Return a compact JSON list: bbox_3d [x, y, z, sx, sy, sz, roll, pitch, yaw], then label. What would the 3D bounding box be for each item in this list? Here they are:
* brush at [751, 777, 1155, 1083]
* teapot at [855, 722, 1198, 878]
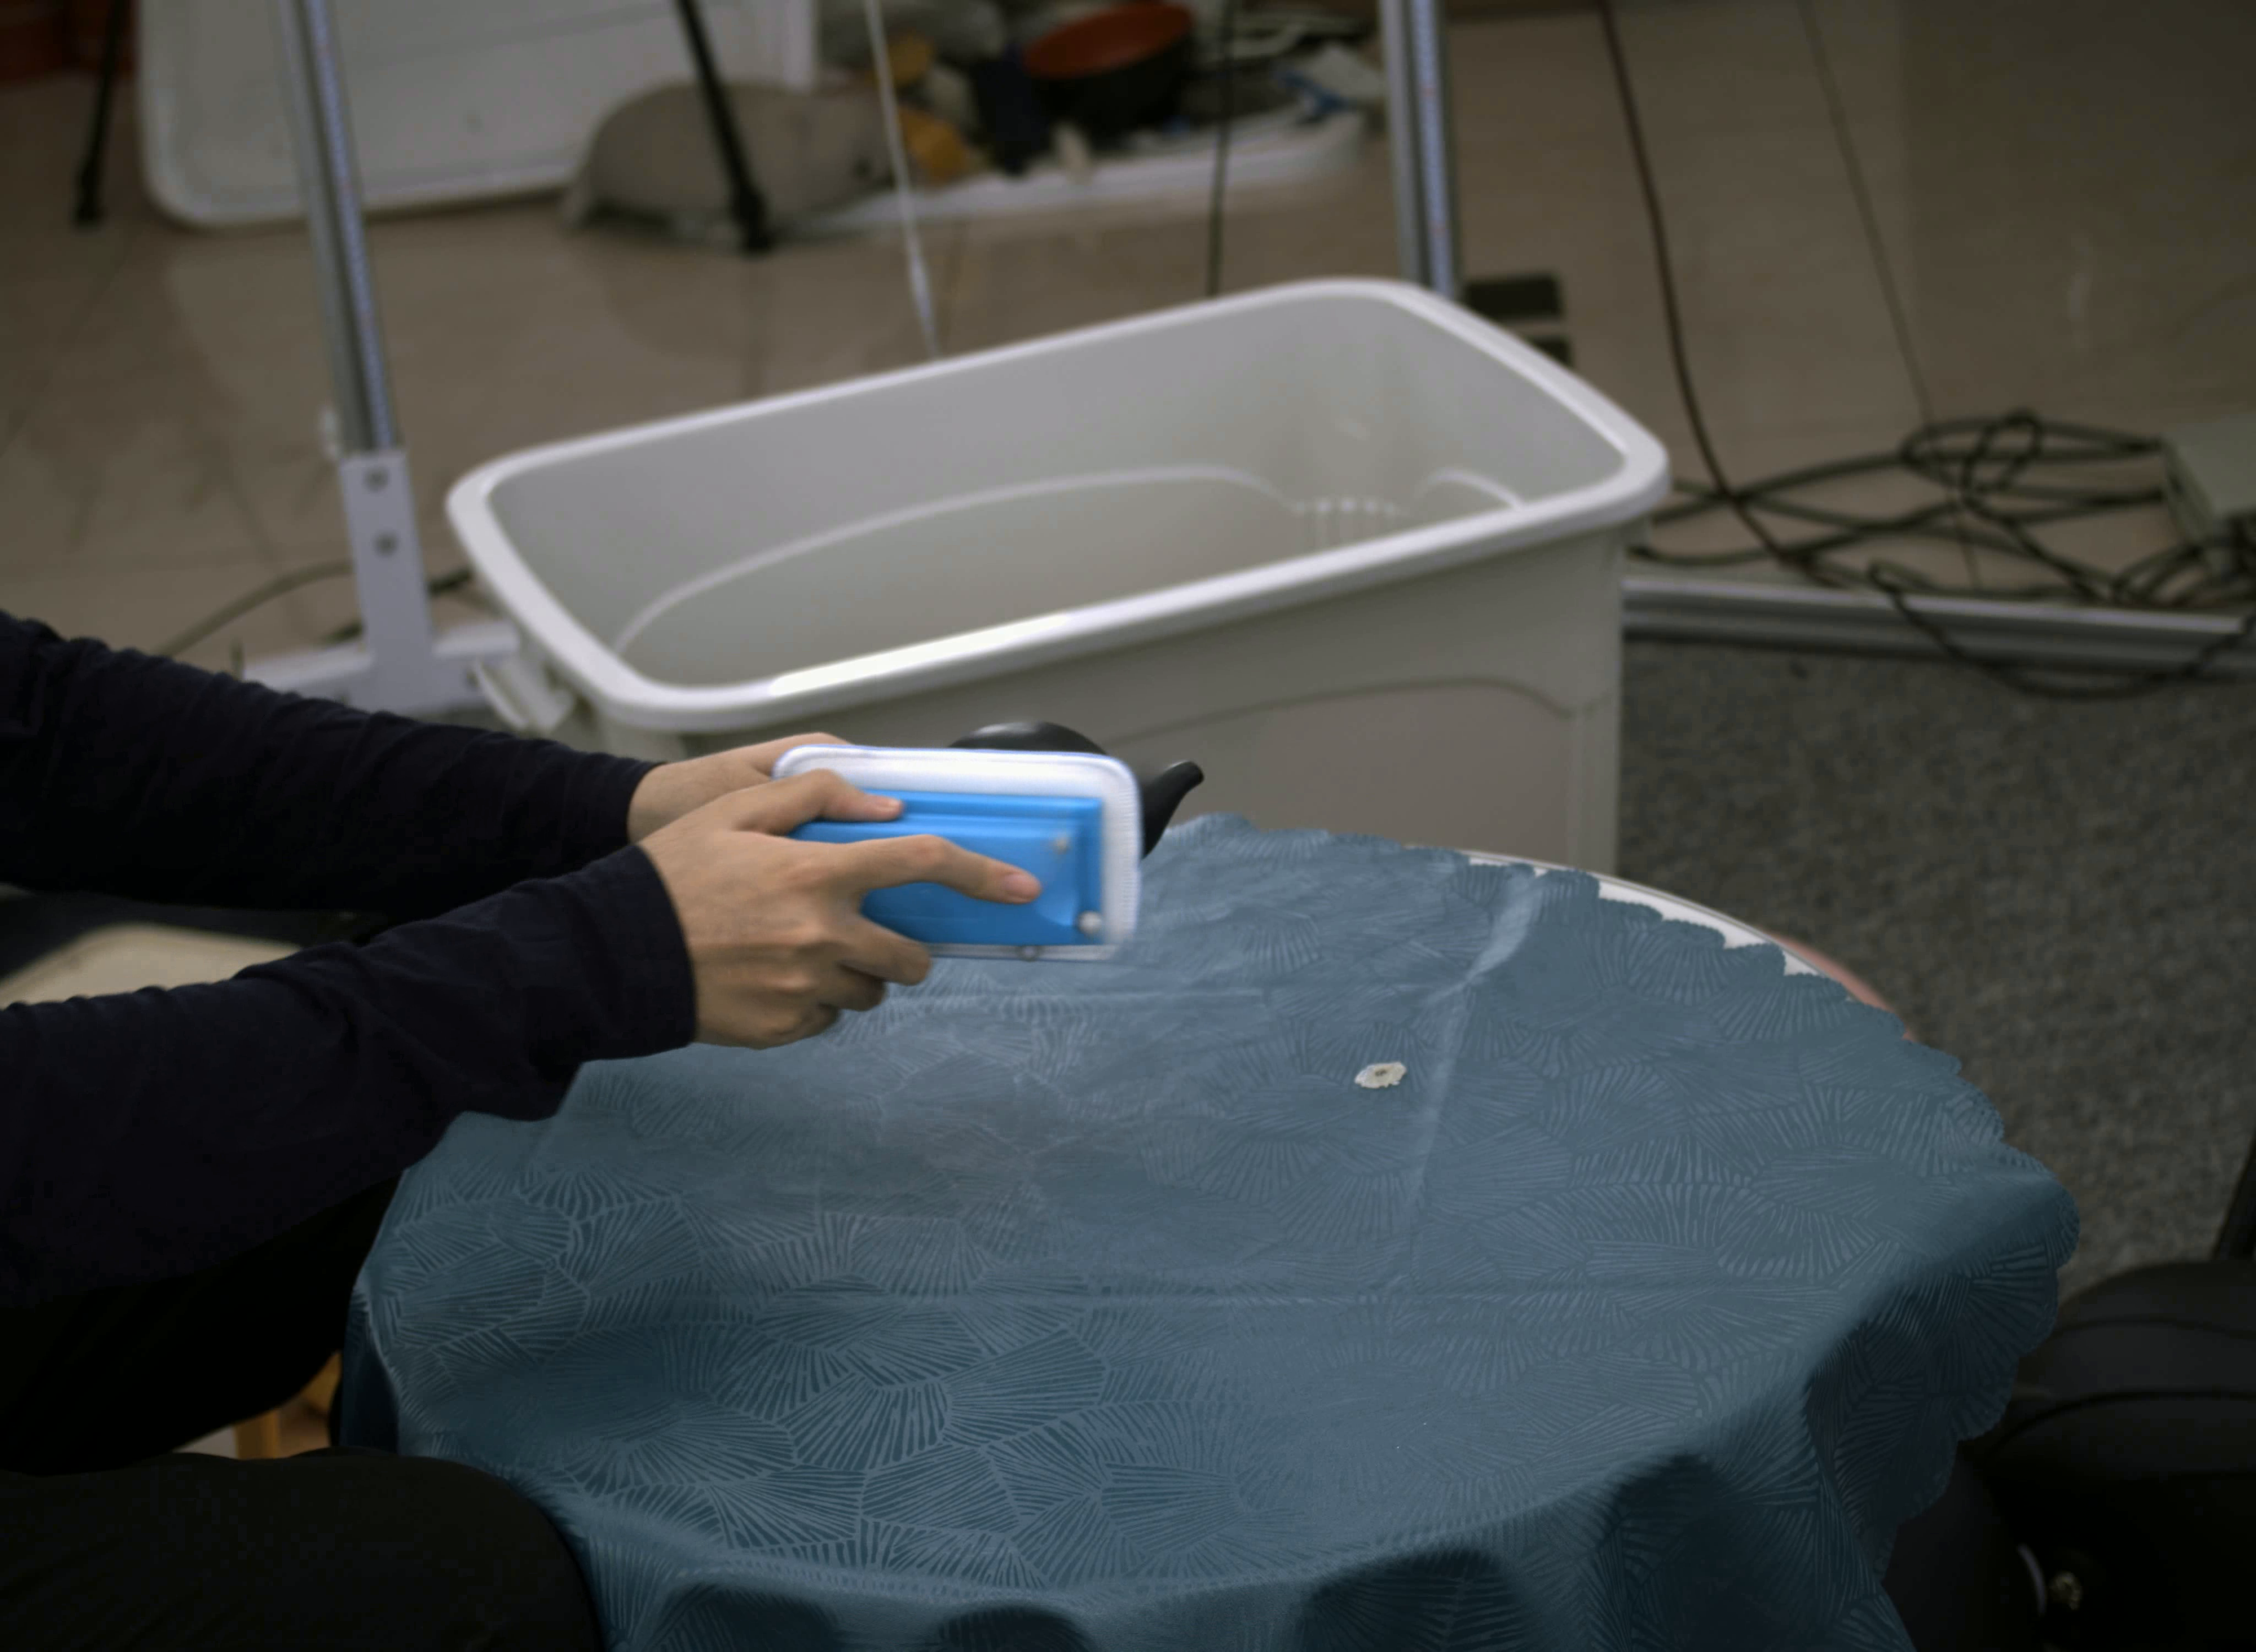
[{"bbox_3d":[-0.066,0.038,2.092,0.144,0.084,0.056,-20,3,1],"label":"brush"},{"bbox_3d":[-0.041,0.001,2.152,0.133,0.092,0.052,-4,33,16],"label":"teapot"}]
